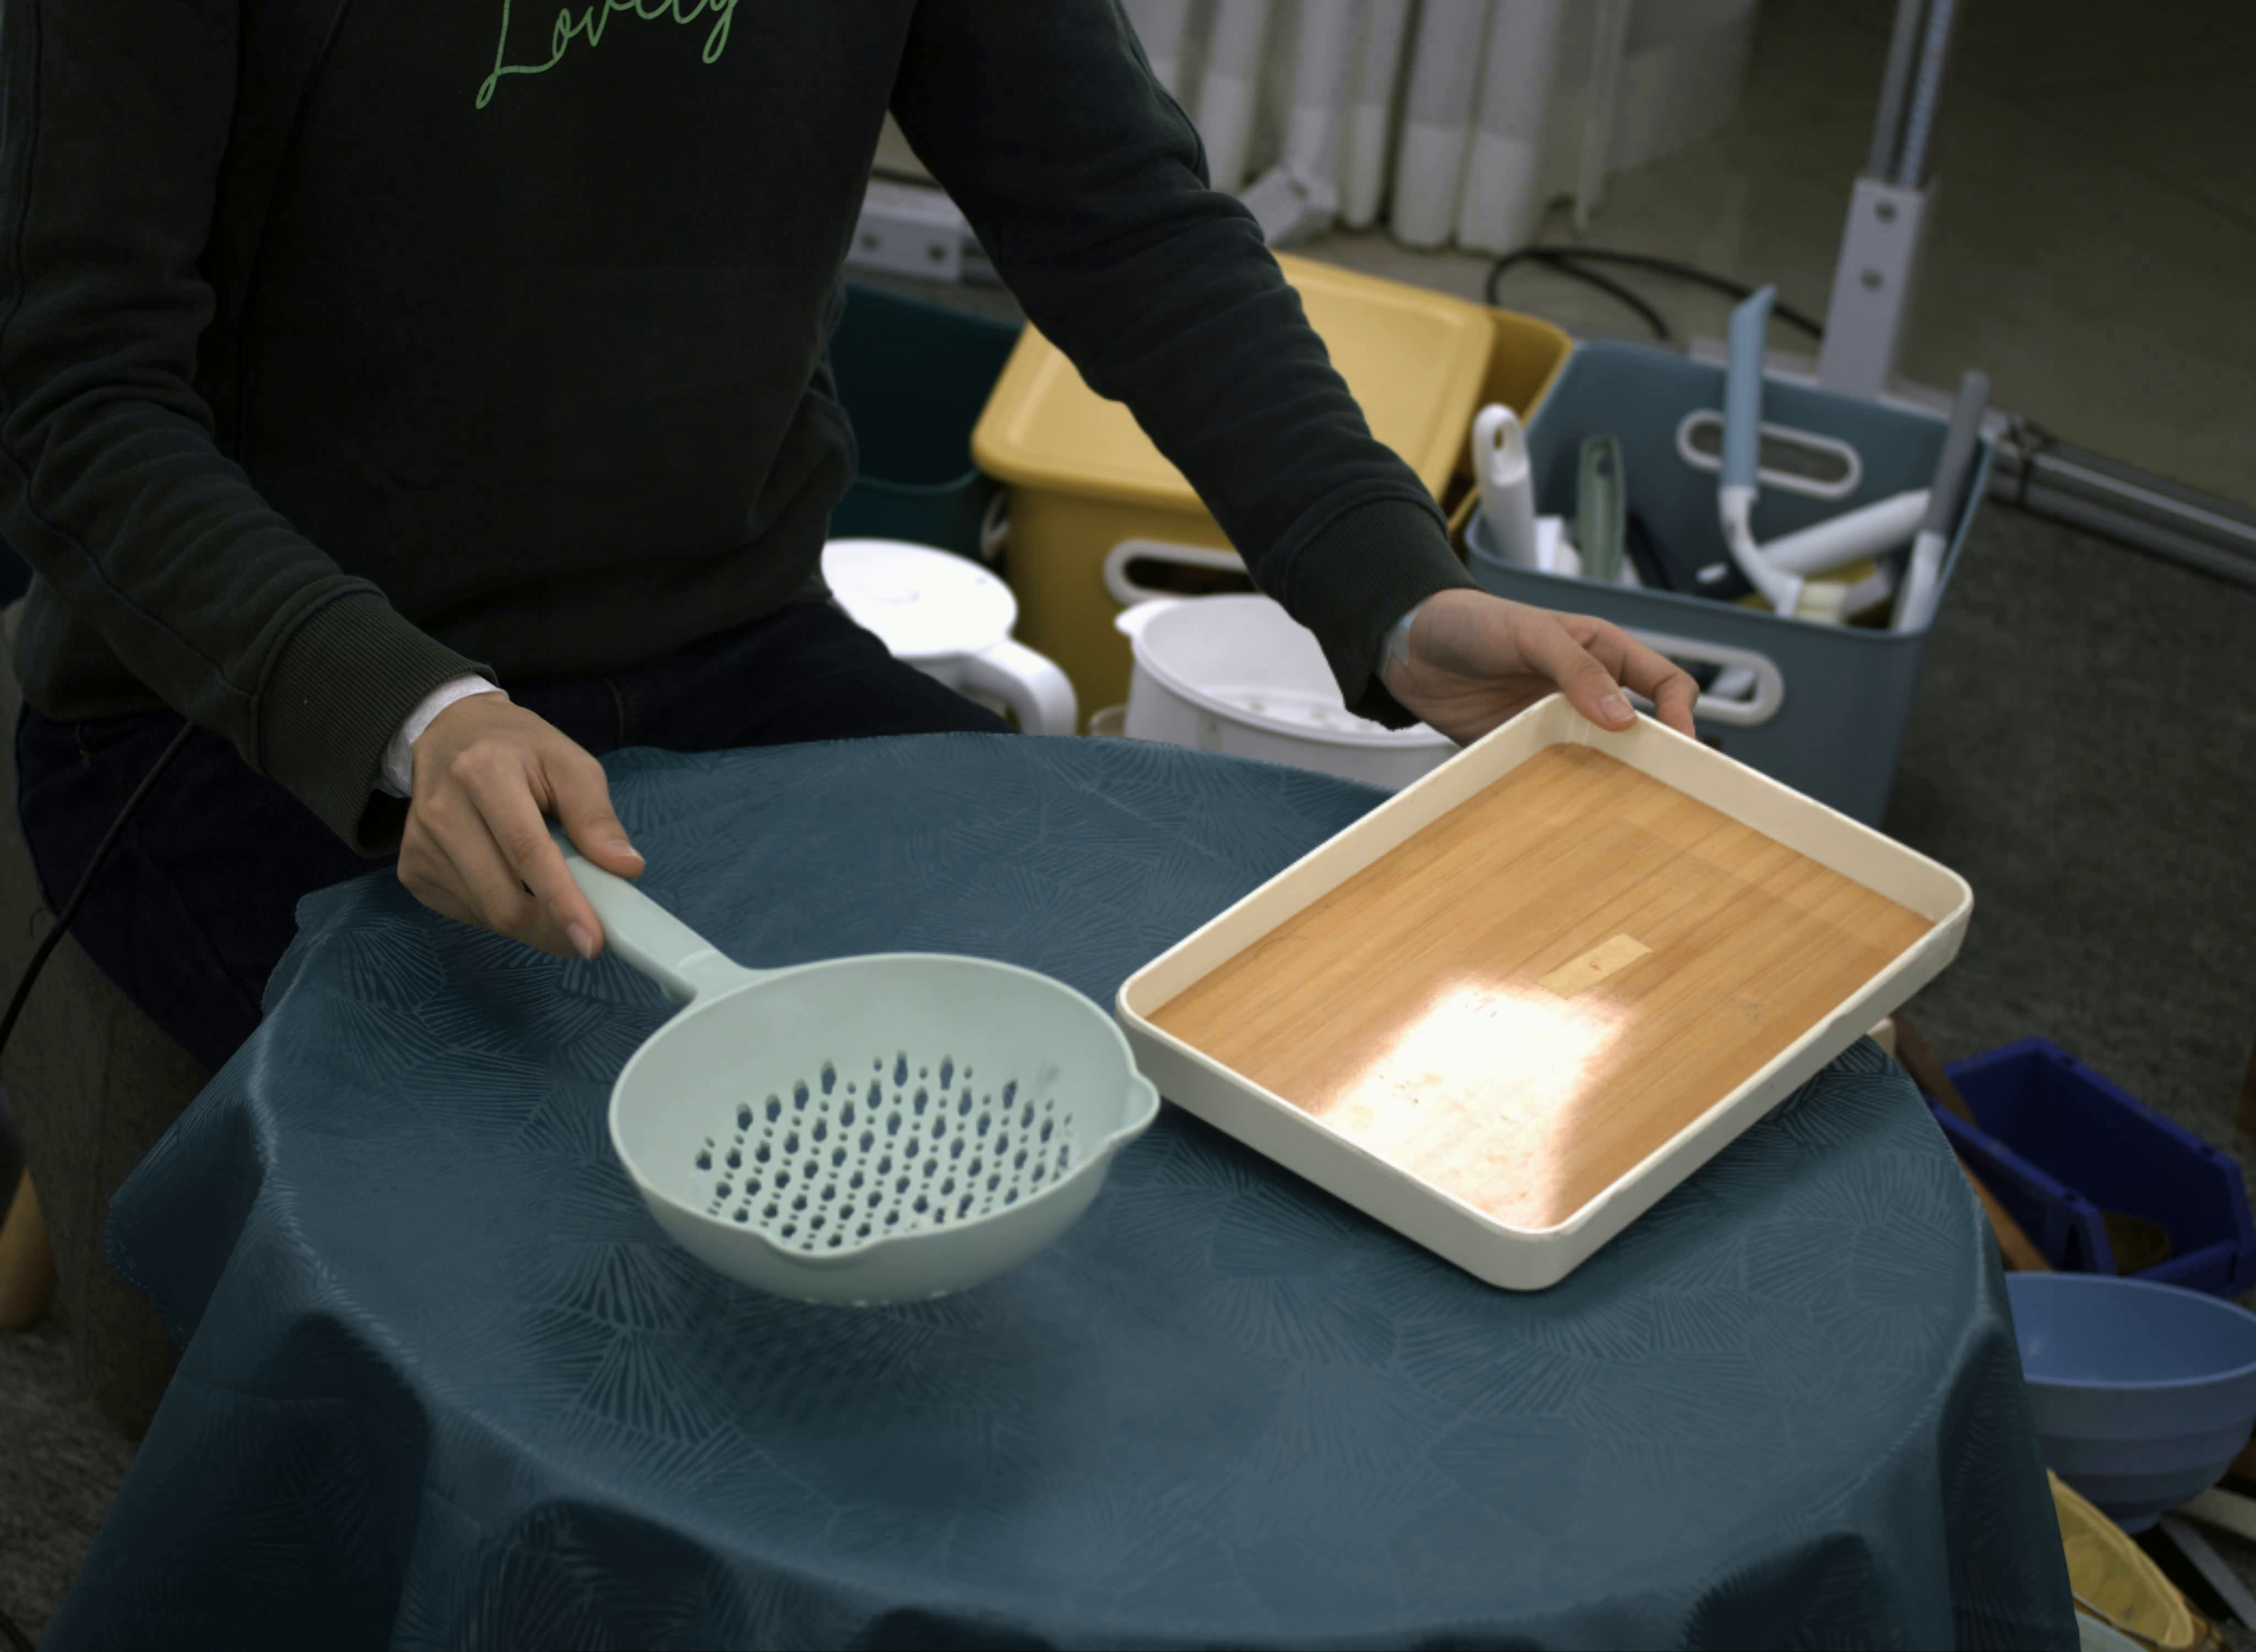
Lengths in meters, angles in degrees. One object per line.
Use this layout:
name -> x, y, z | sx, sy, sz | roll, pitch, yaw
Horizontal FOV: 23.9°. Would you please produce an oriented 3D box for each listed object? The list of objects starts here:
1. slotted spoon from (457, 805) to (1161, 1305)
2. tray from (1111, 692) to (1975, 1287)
slotted spoon -> -0.135, 0.058, 1.770 | 0.168, 0.075, 0.362 | -21, 40, -28
tray -> 0.151, 0.052, 1.899 | 0.193, 0.027, 0.299 | 28, 39, 28
